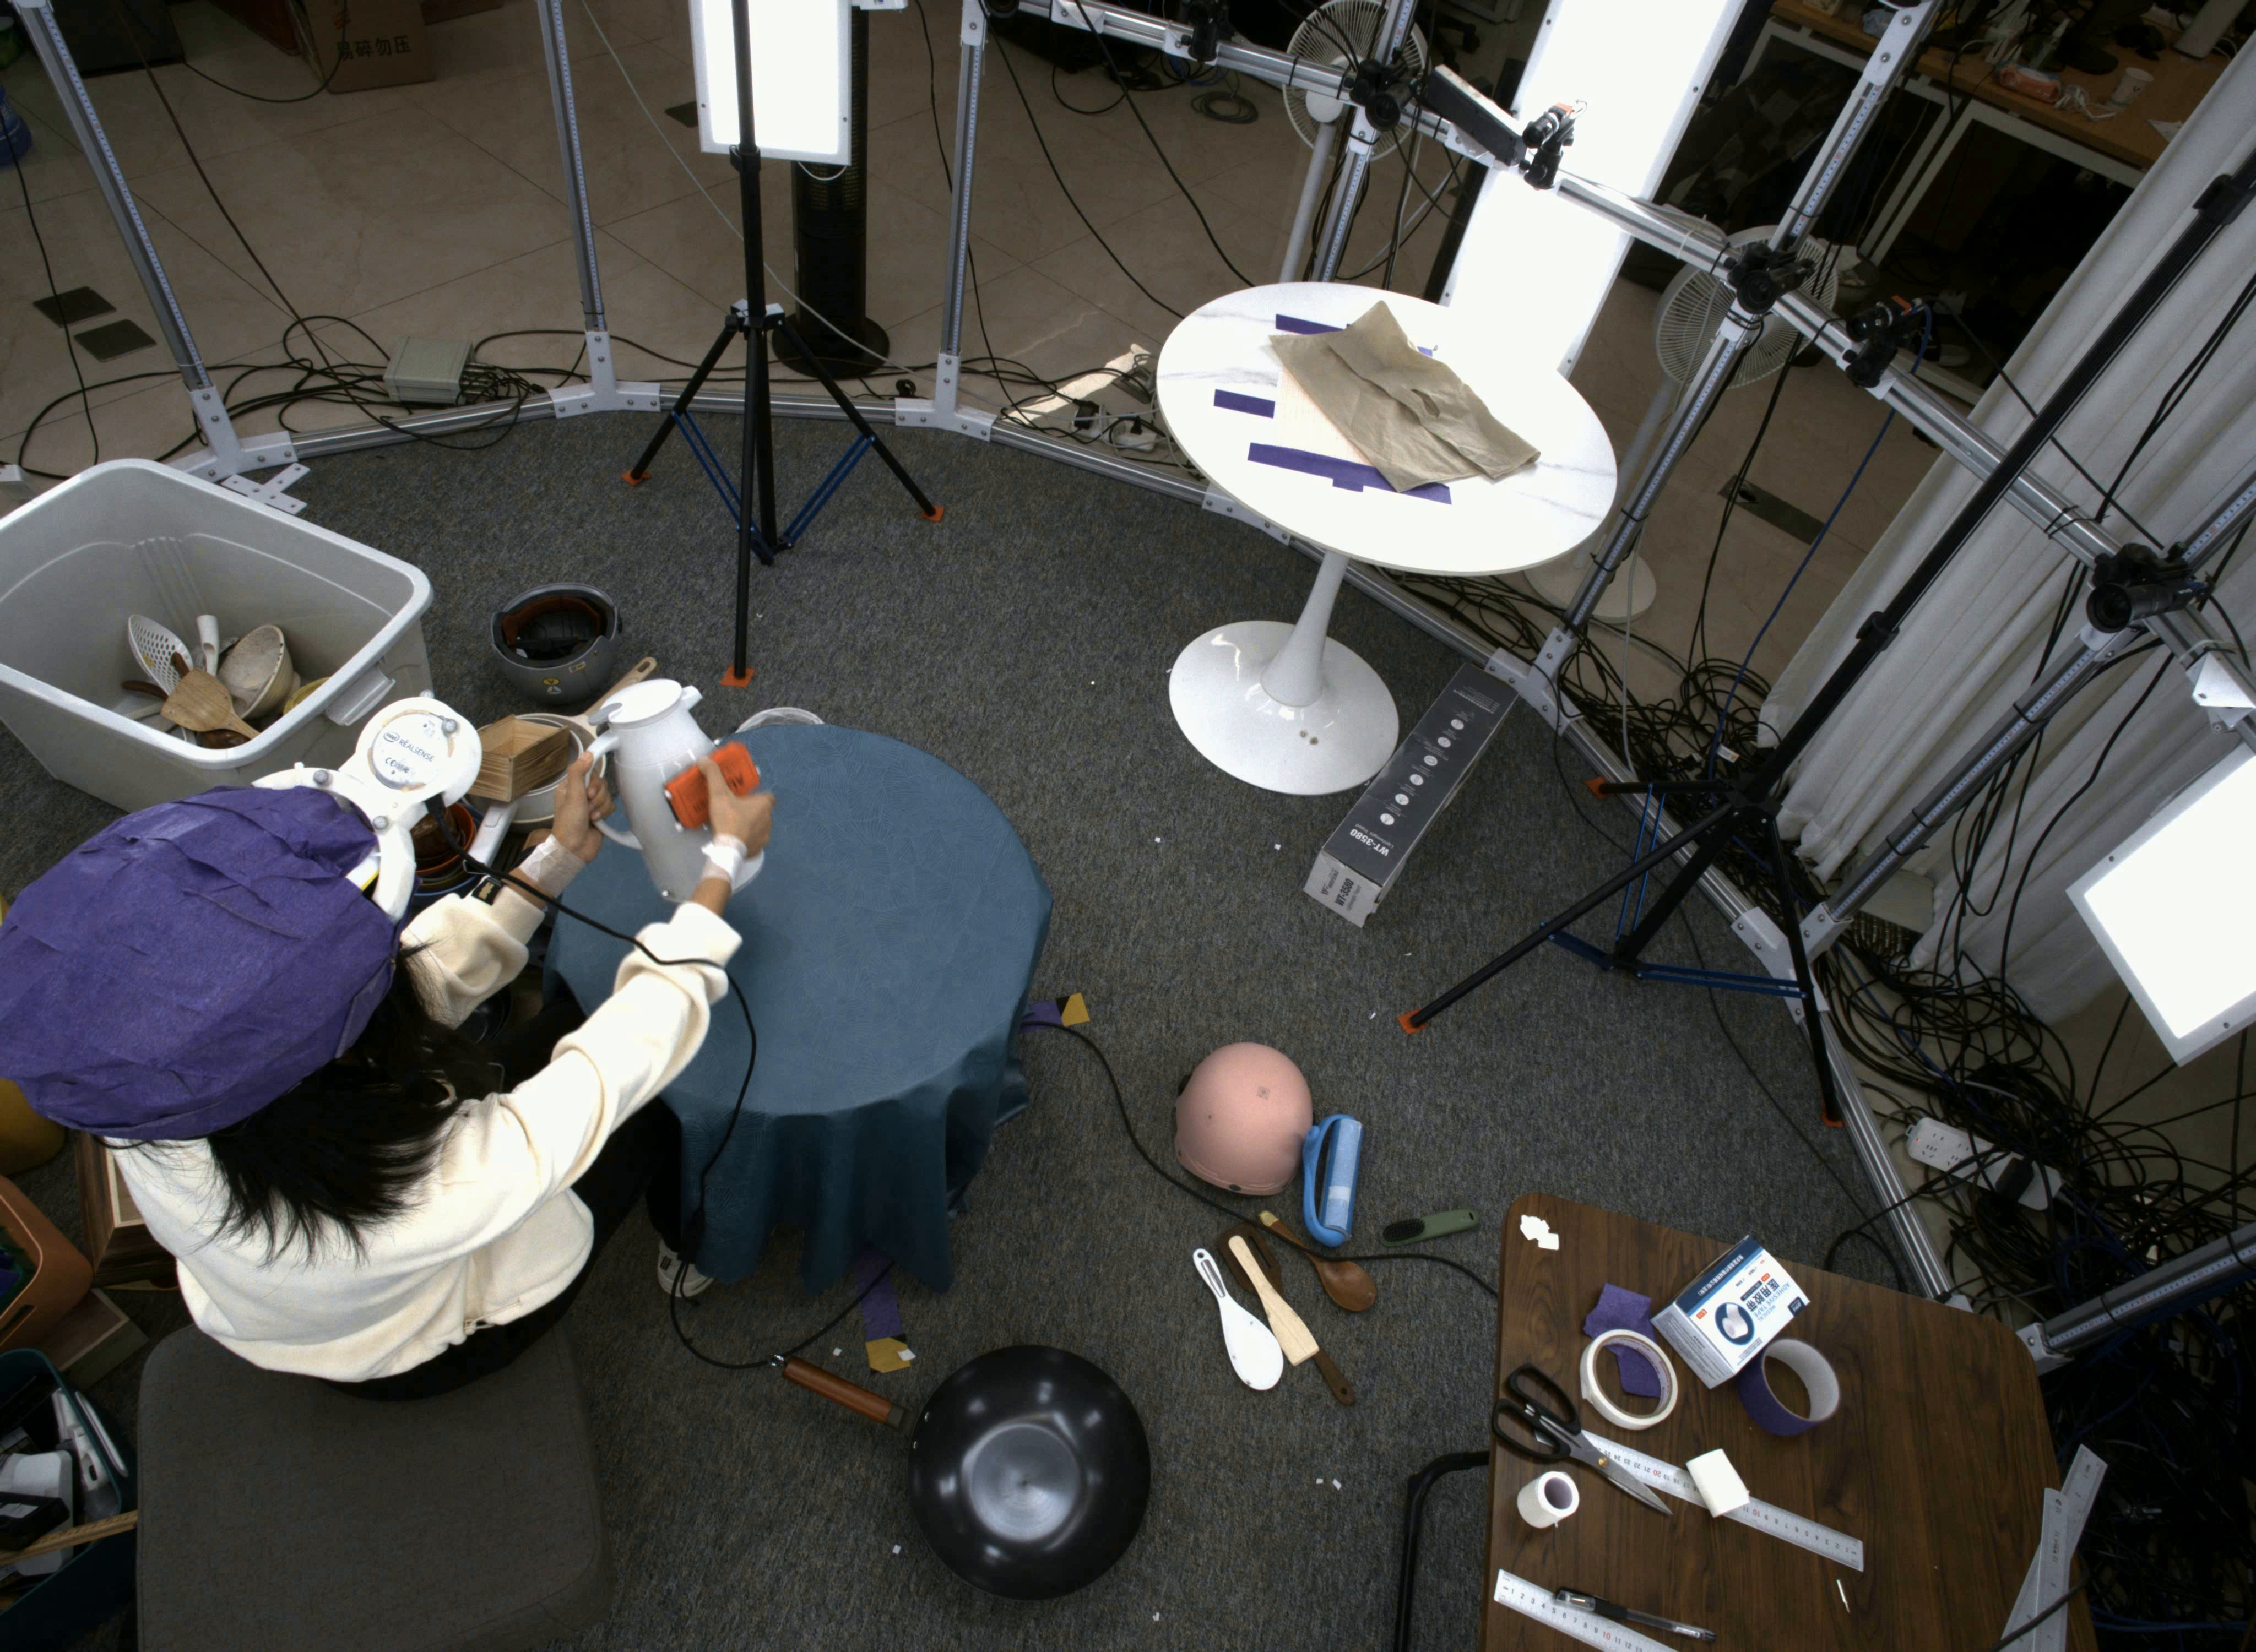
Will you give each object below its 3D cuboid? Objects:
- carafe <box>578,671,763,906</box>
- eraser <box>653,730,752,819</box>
[{"bbox_3d":[-0.530,-0.040,1.443,0.168,0.258,0.127,-33,41,-27],"label":"carafe"},{"bbox_3d":[-0.463,-0.058,1.405,0.022,0.061,0.108,5,35,37],"label":"eraser"}]
